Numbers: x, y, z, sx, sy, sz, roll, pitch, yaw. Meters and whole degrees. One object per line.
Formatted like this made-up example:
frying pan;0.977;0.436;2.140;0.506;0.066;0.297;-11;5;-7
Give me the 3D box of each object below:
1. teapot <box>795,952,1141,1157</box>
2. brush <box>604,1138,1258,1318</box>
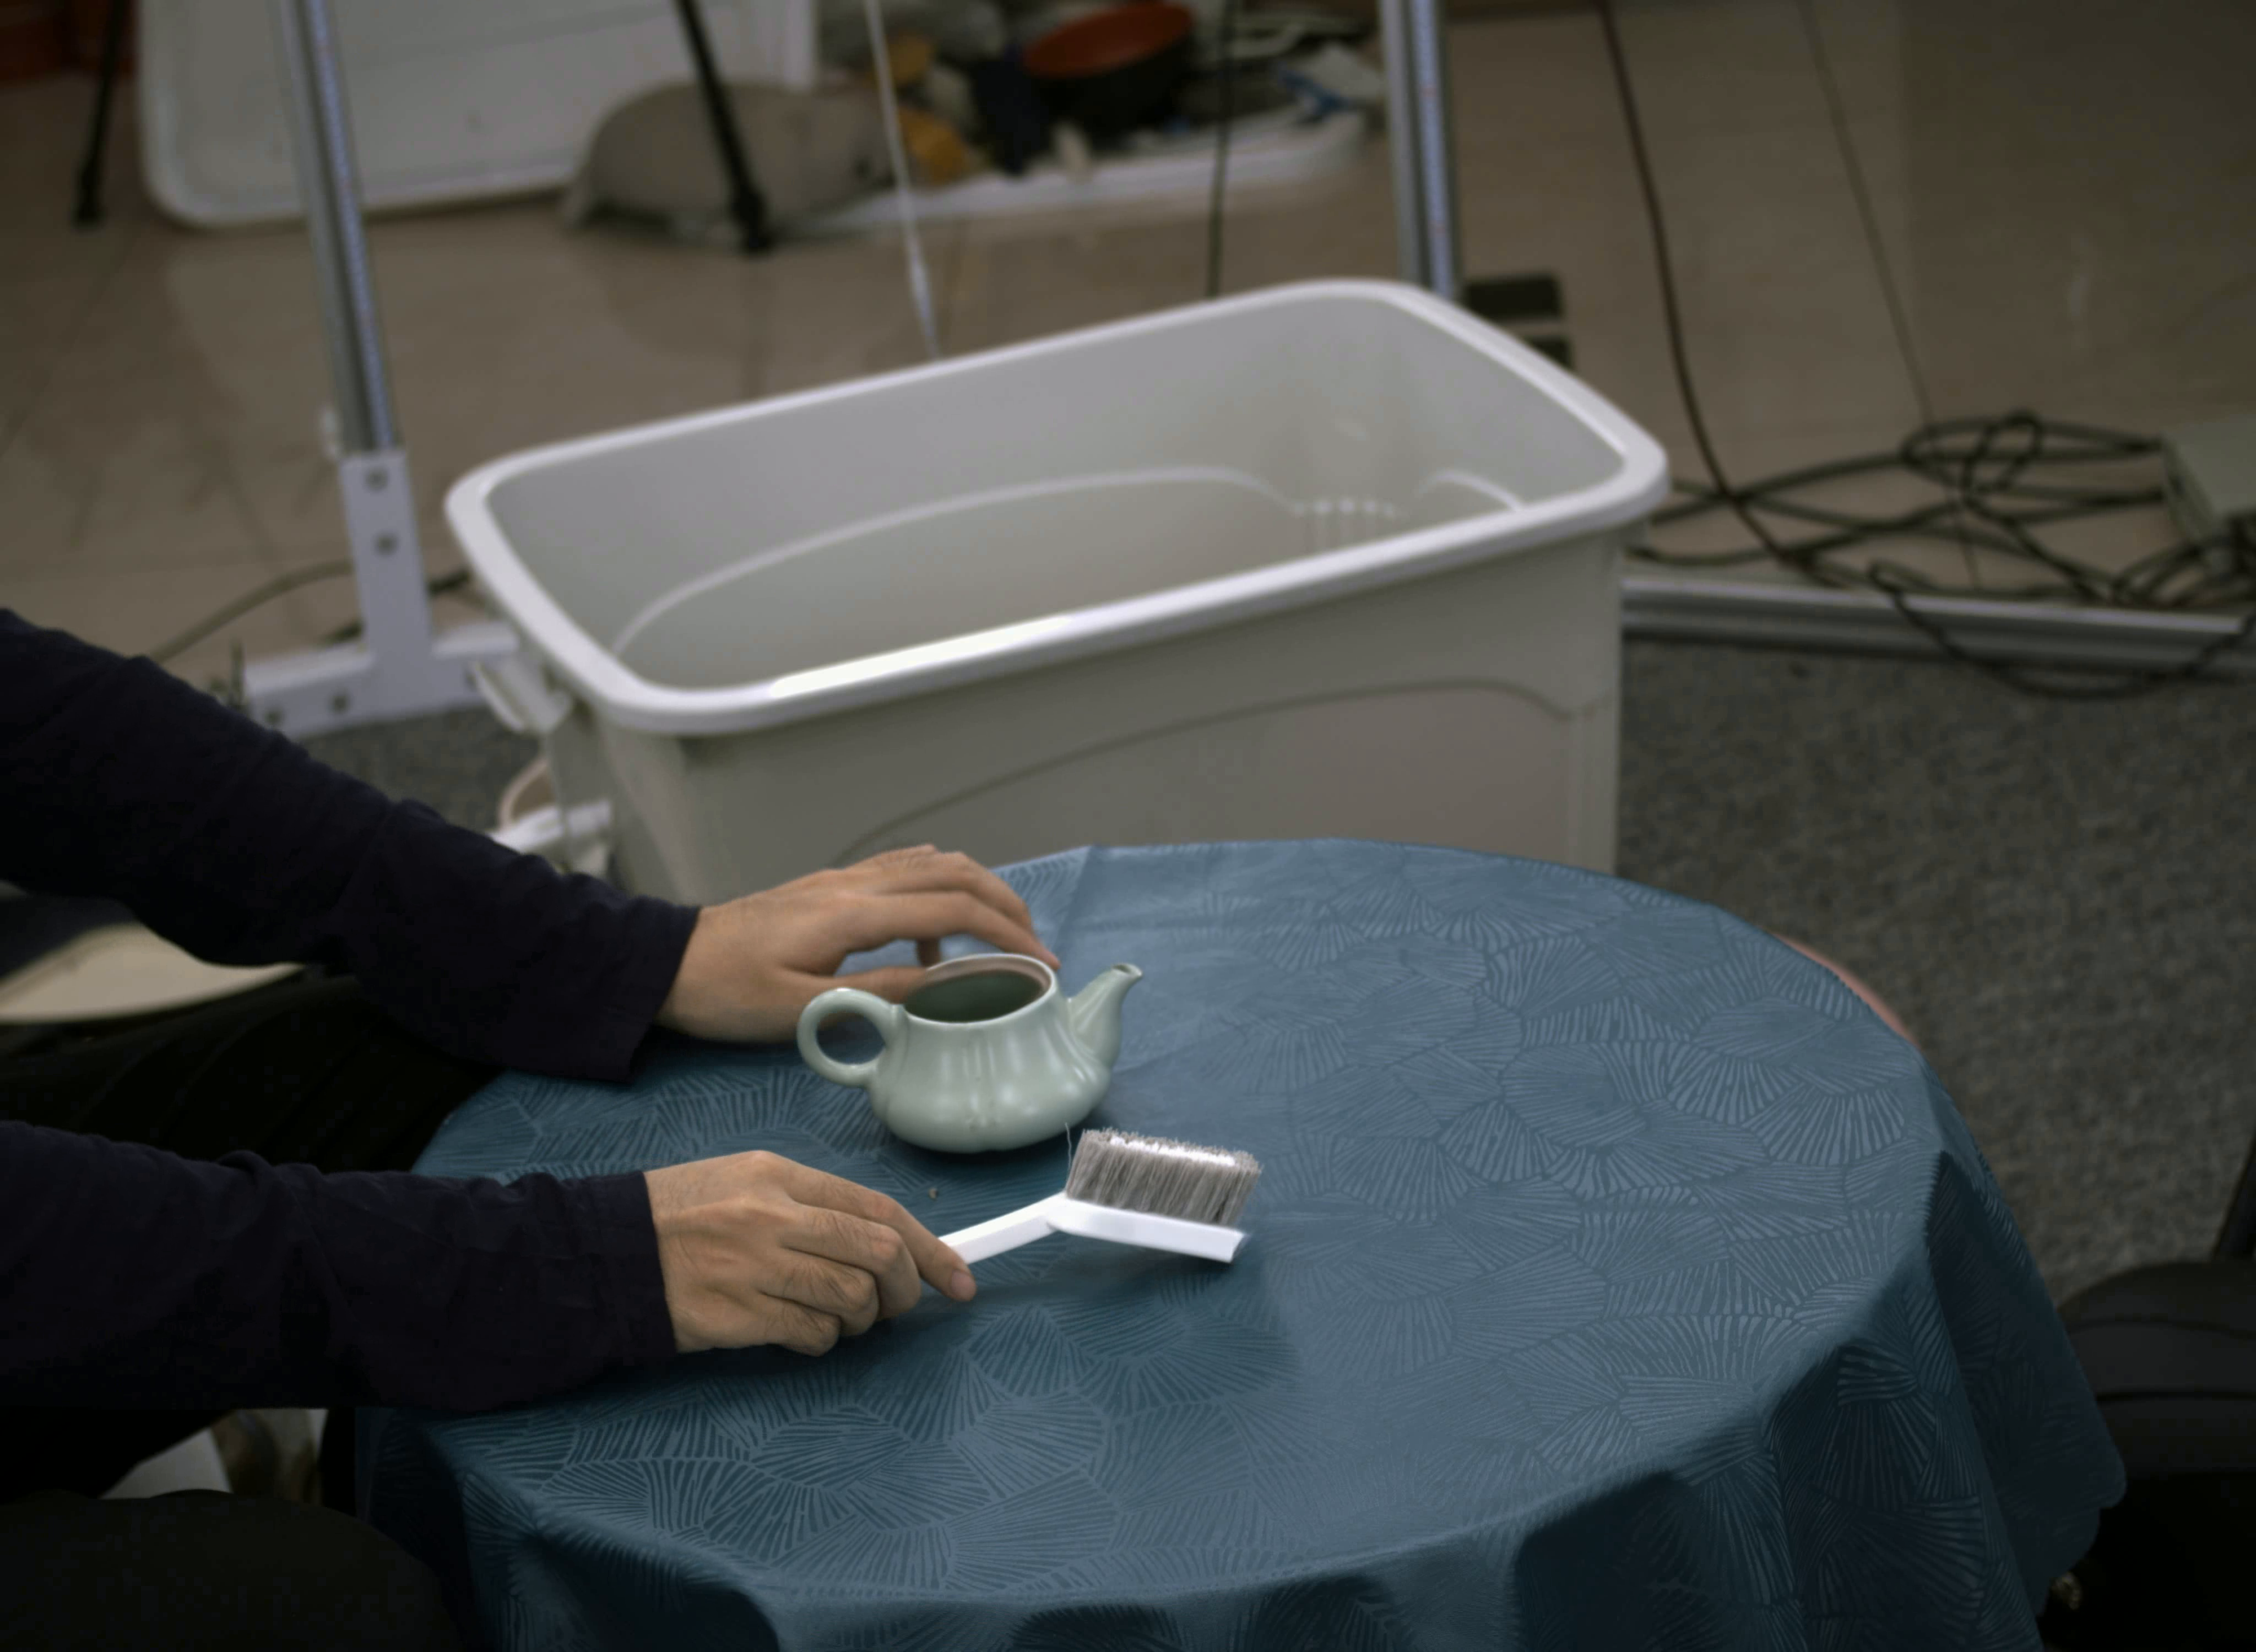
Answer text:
teapot;-0.060;0.087;2.202;0.137;0.062;0.094;-6;28;0
brush;-0.073;0.146;2.082;0.243;0.051;0.034;-5;20;-1
